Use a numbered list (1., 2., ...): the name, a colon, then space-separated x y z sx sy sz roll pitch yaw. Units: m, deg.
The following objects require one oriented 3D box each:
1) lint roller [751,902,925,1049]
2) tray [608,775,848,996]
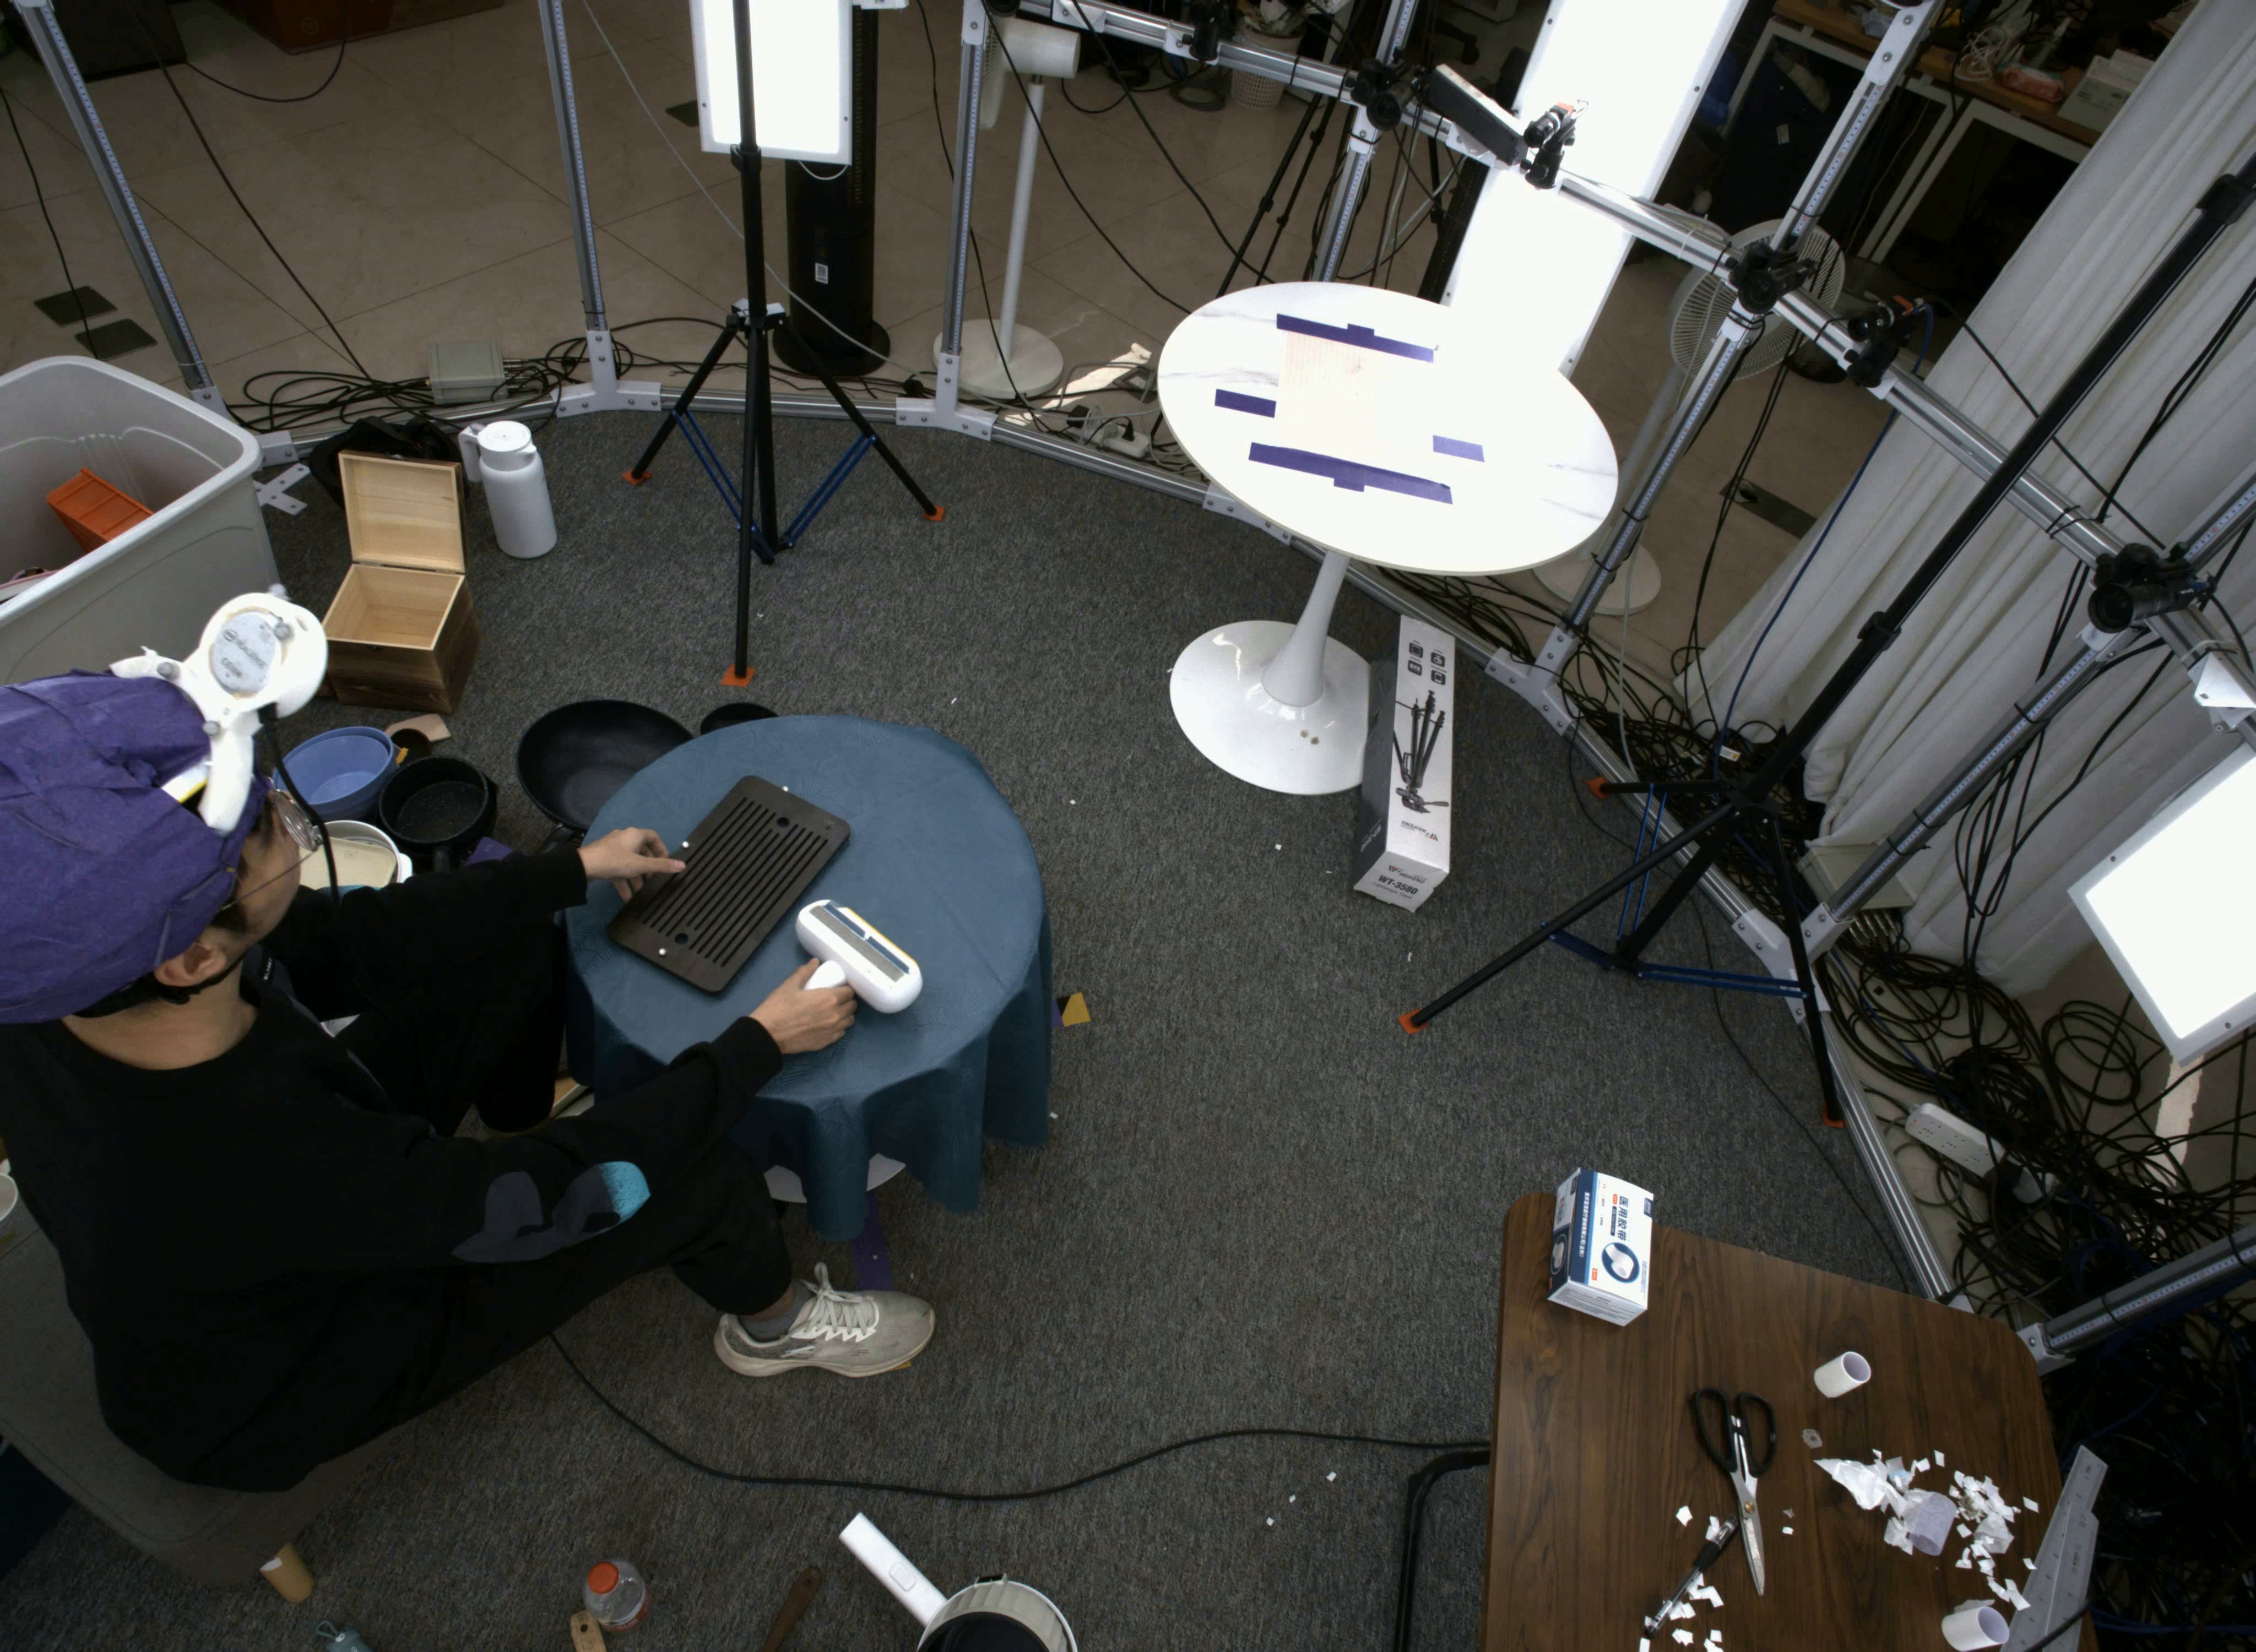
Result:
1. lint roller: -0.367 0.192 1.557 0.193 0.076 0.187 -32 60 -32
2. tray: -0.506 0.068 1.646 0.168 0.019 0.304 27 52 6
